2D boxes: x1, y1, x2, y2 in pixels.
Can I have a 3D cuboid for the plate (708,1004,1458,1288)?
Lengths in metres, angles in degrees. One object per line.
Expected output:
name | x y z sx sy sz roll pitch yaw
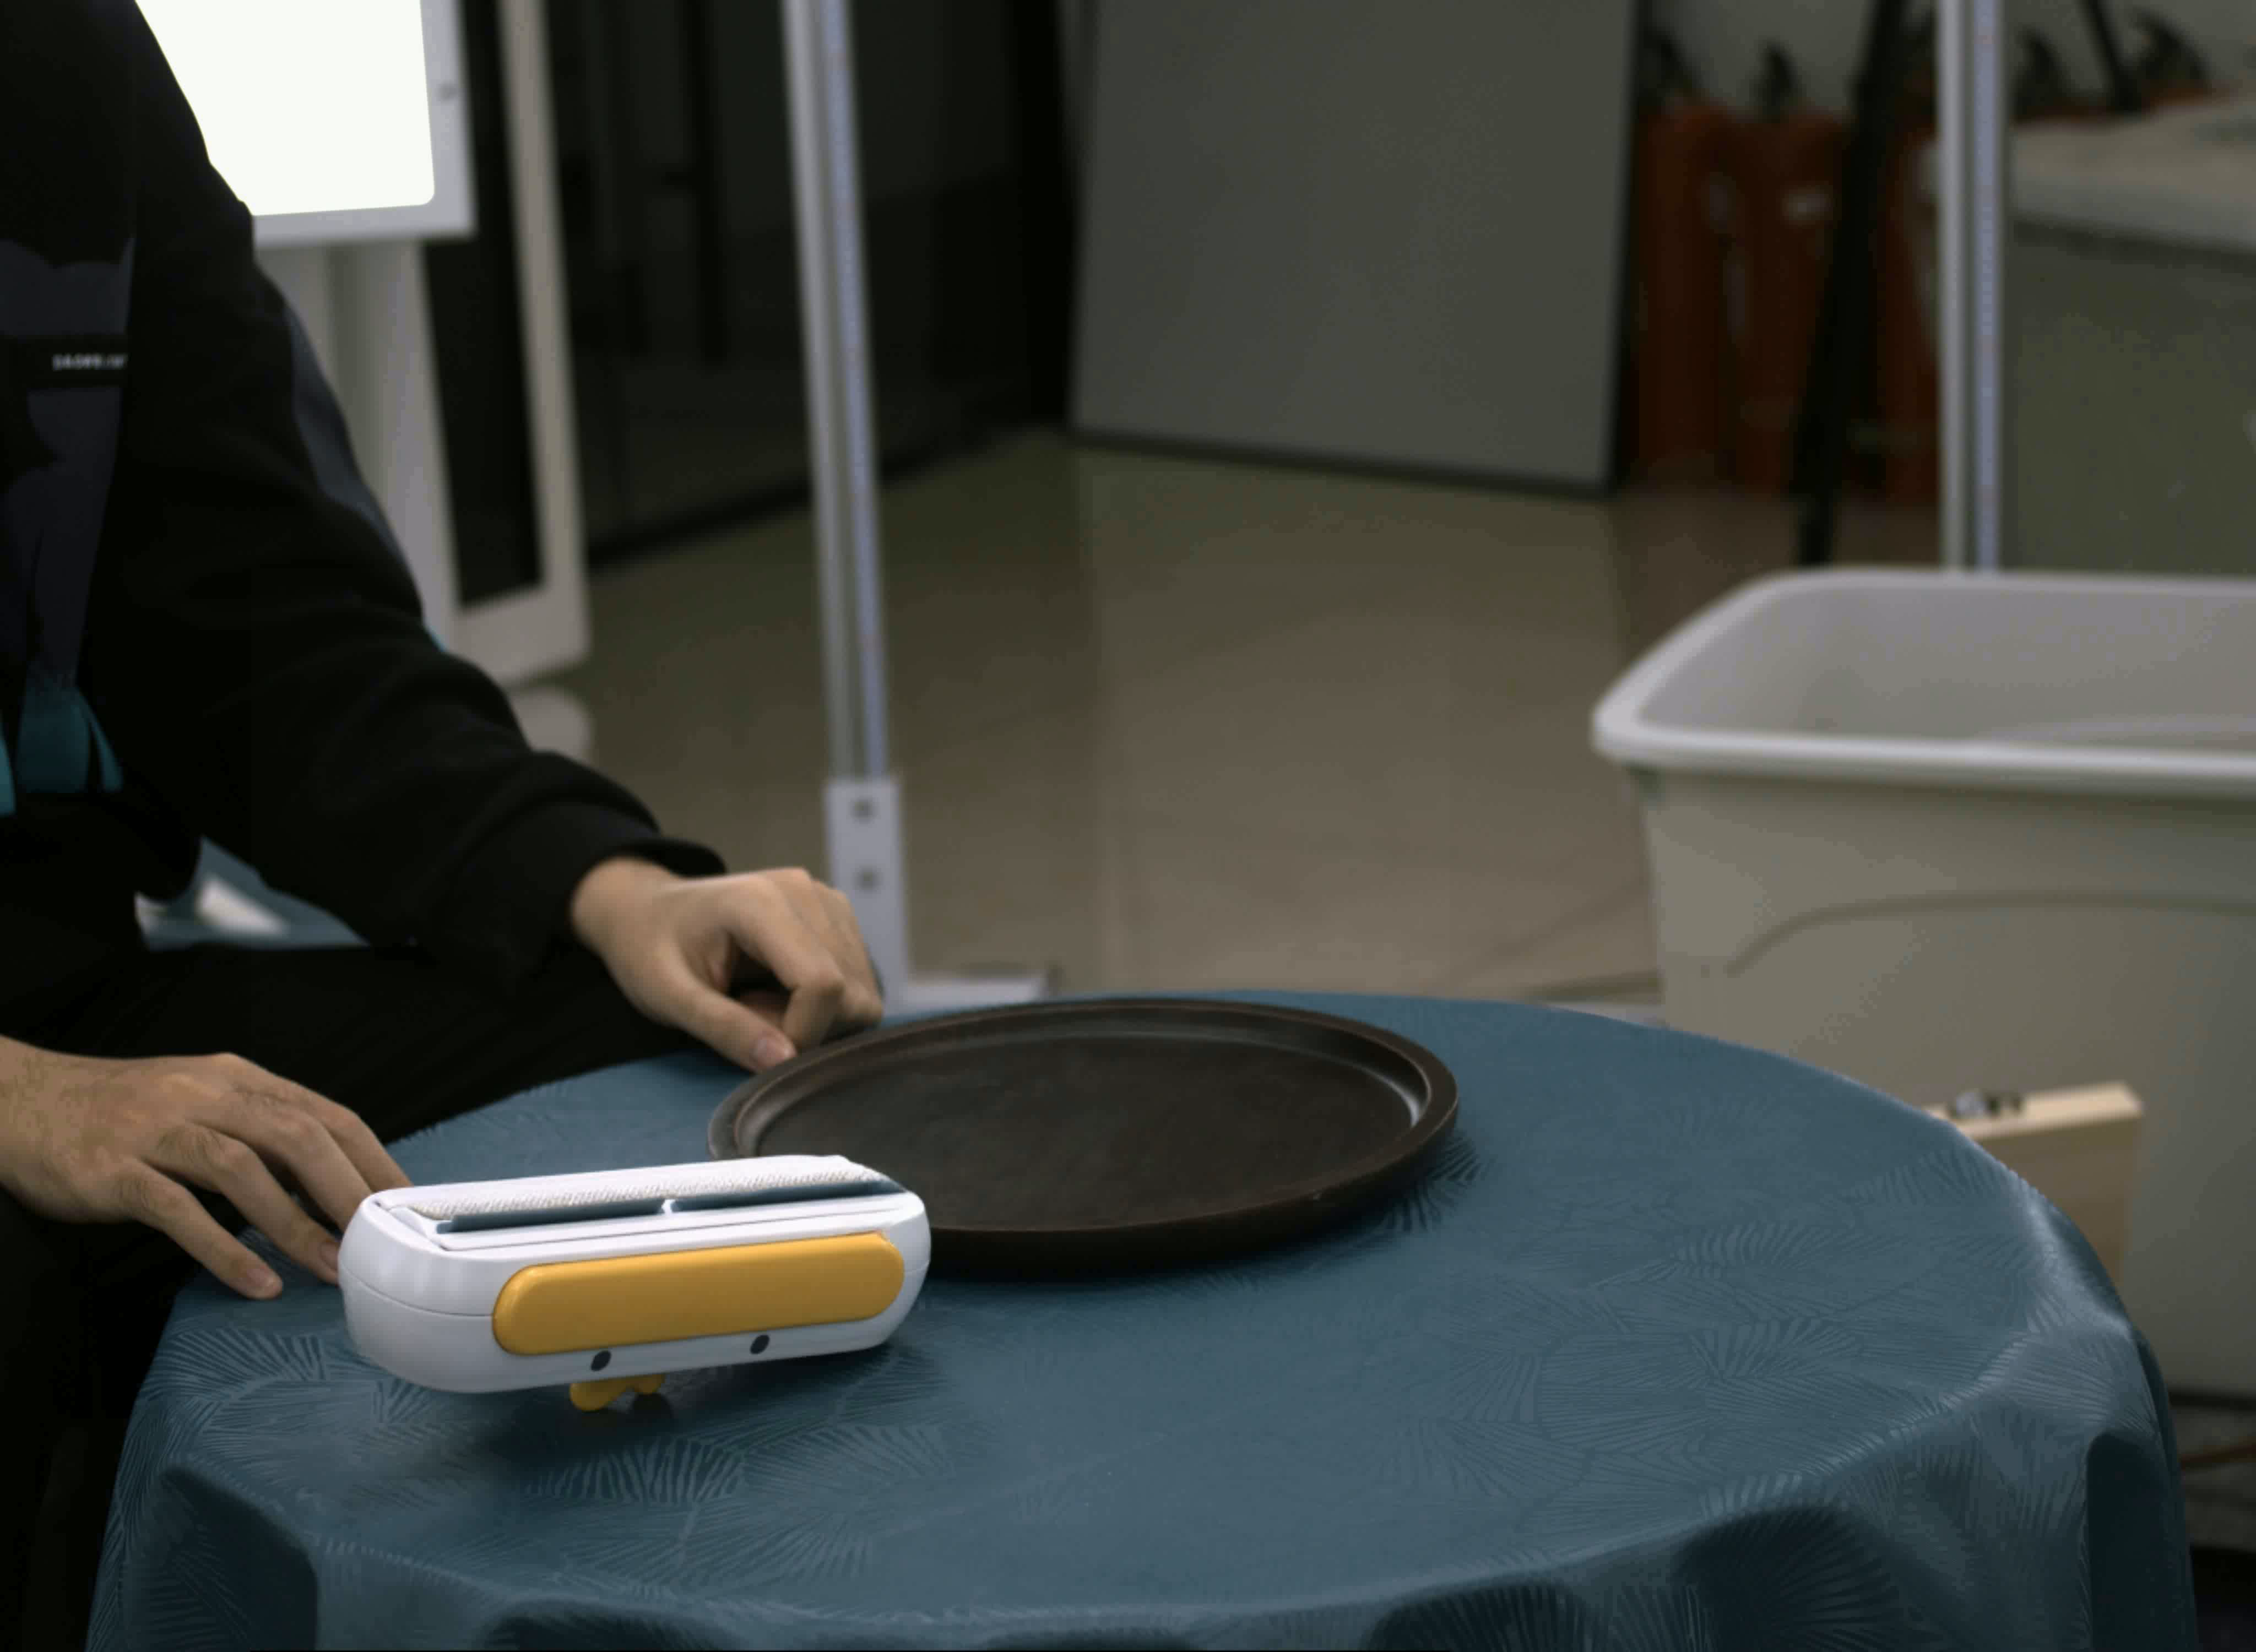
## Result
plate | -0.014 0.105 1.797 0.251 0.029 0.255 -5 13 0

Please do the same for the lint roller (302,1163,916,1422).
lint roller | -0.183 0.131 1.643 0.188 0.075 0.194 -7 11 -34
